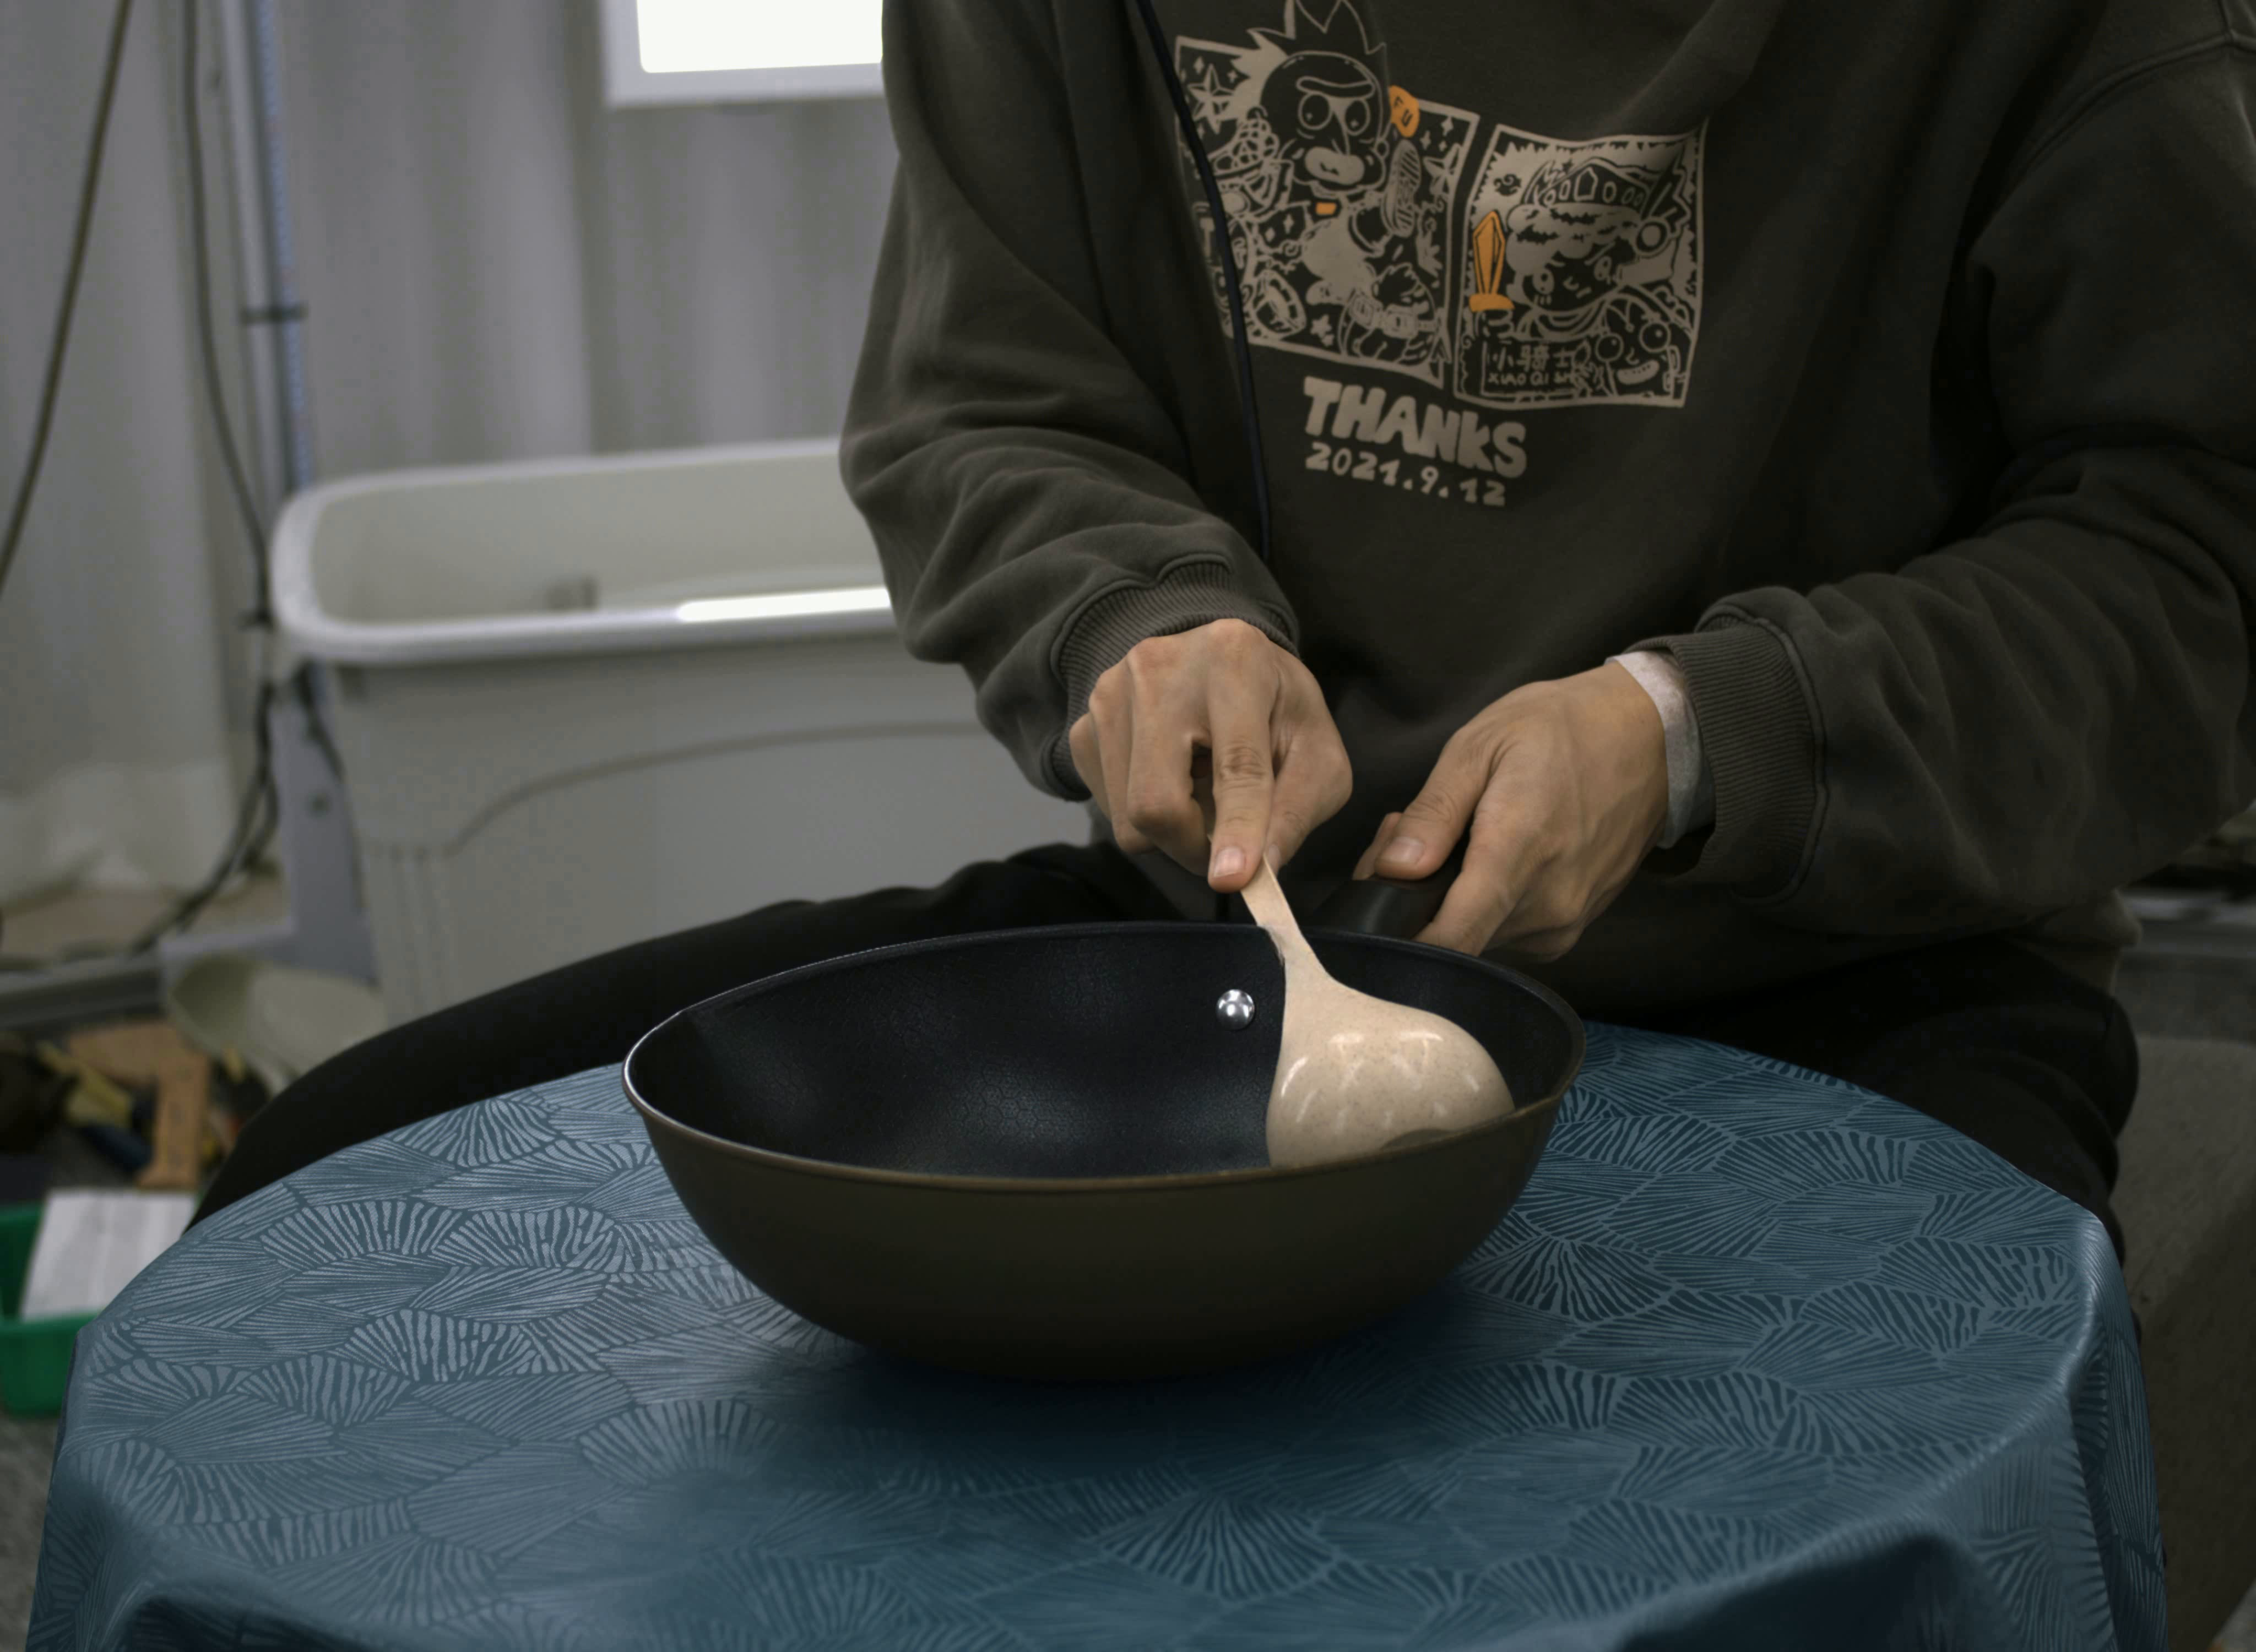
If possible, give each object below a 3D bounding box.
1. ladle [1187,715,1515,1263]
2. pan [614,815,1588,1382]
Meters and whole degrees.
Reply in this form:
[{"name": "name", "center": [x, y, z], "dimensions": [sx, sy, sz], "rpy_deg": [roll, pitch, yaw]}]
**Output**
[{"name": "ladle", "center": [0.061, 0.048, 1.681], "dimensions": [0.072, 0.072, 0.257], "rpy_deg": [-32, 26, 7]}, {"name": "pan", "center": [0.034, 0.081, 1.687], "dimensions": [0.289, 0.086, 0.463], "rpy_deg": [5, 15, 27]}]
